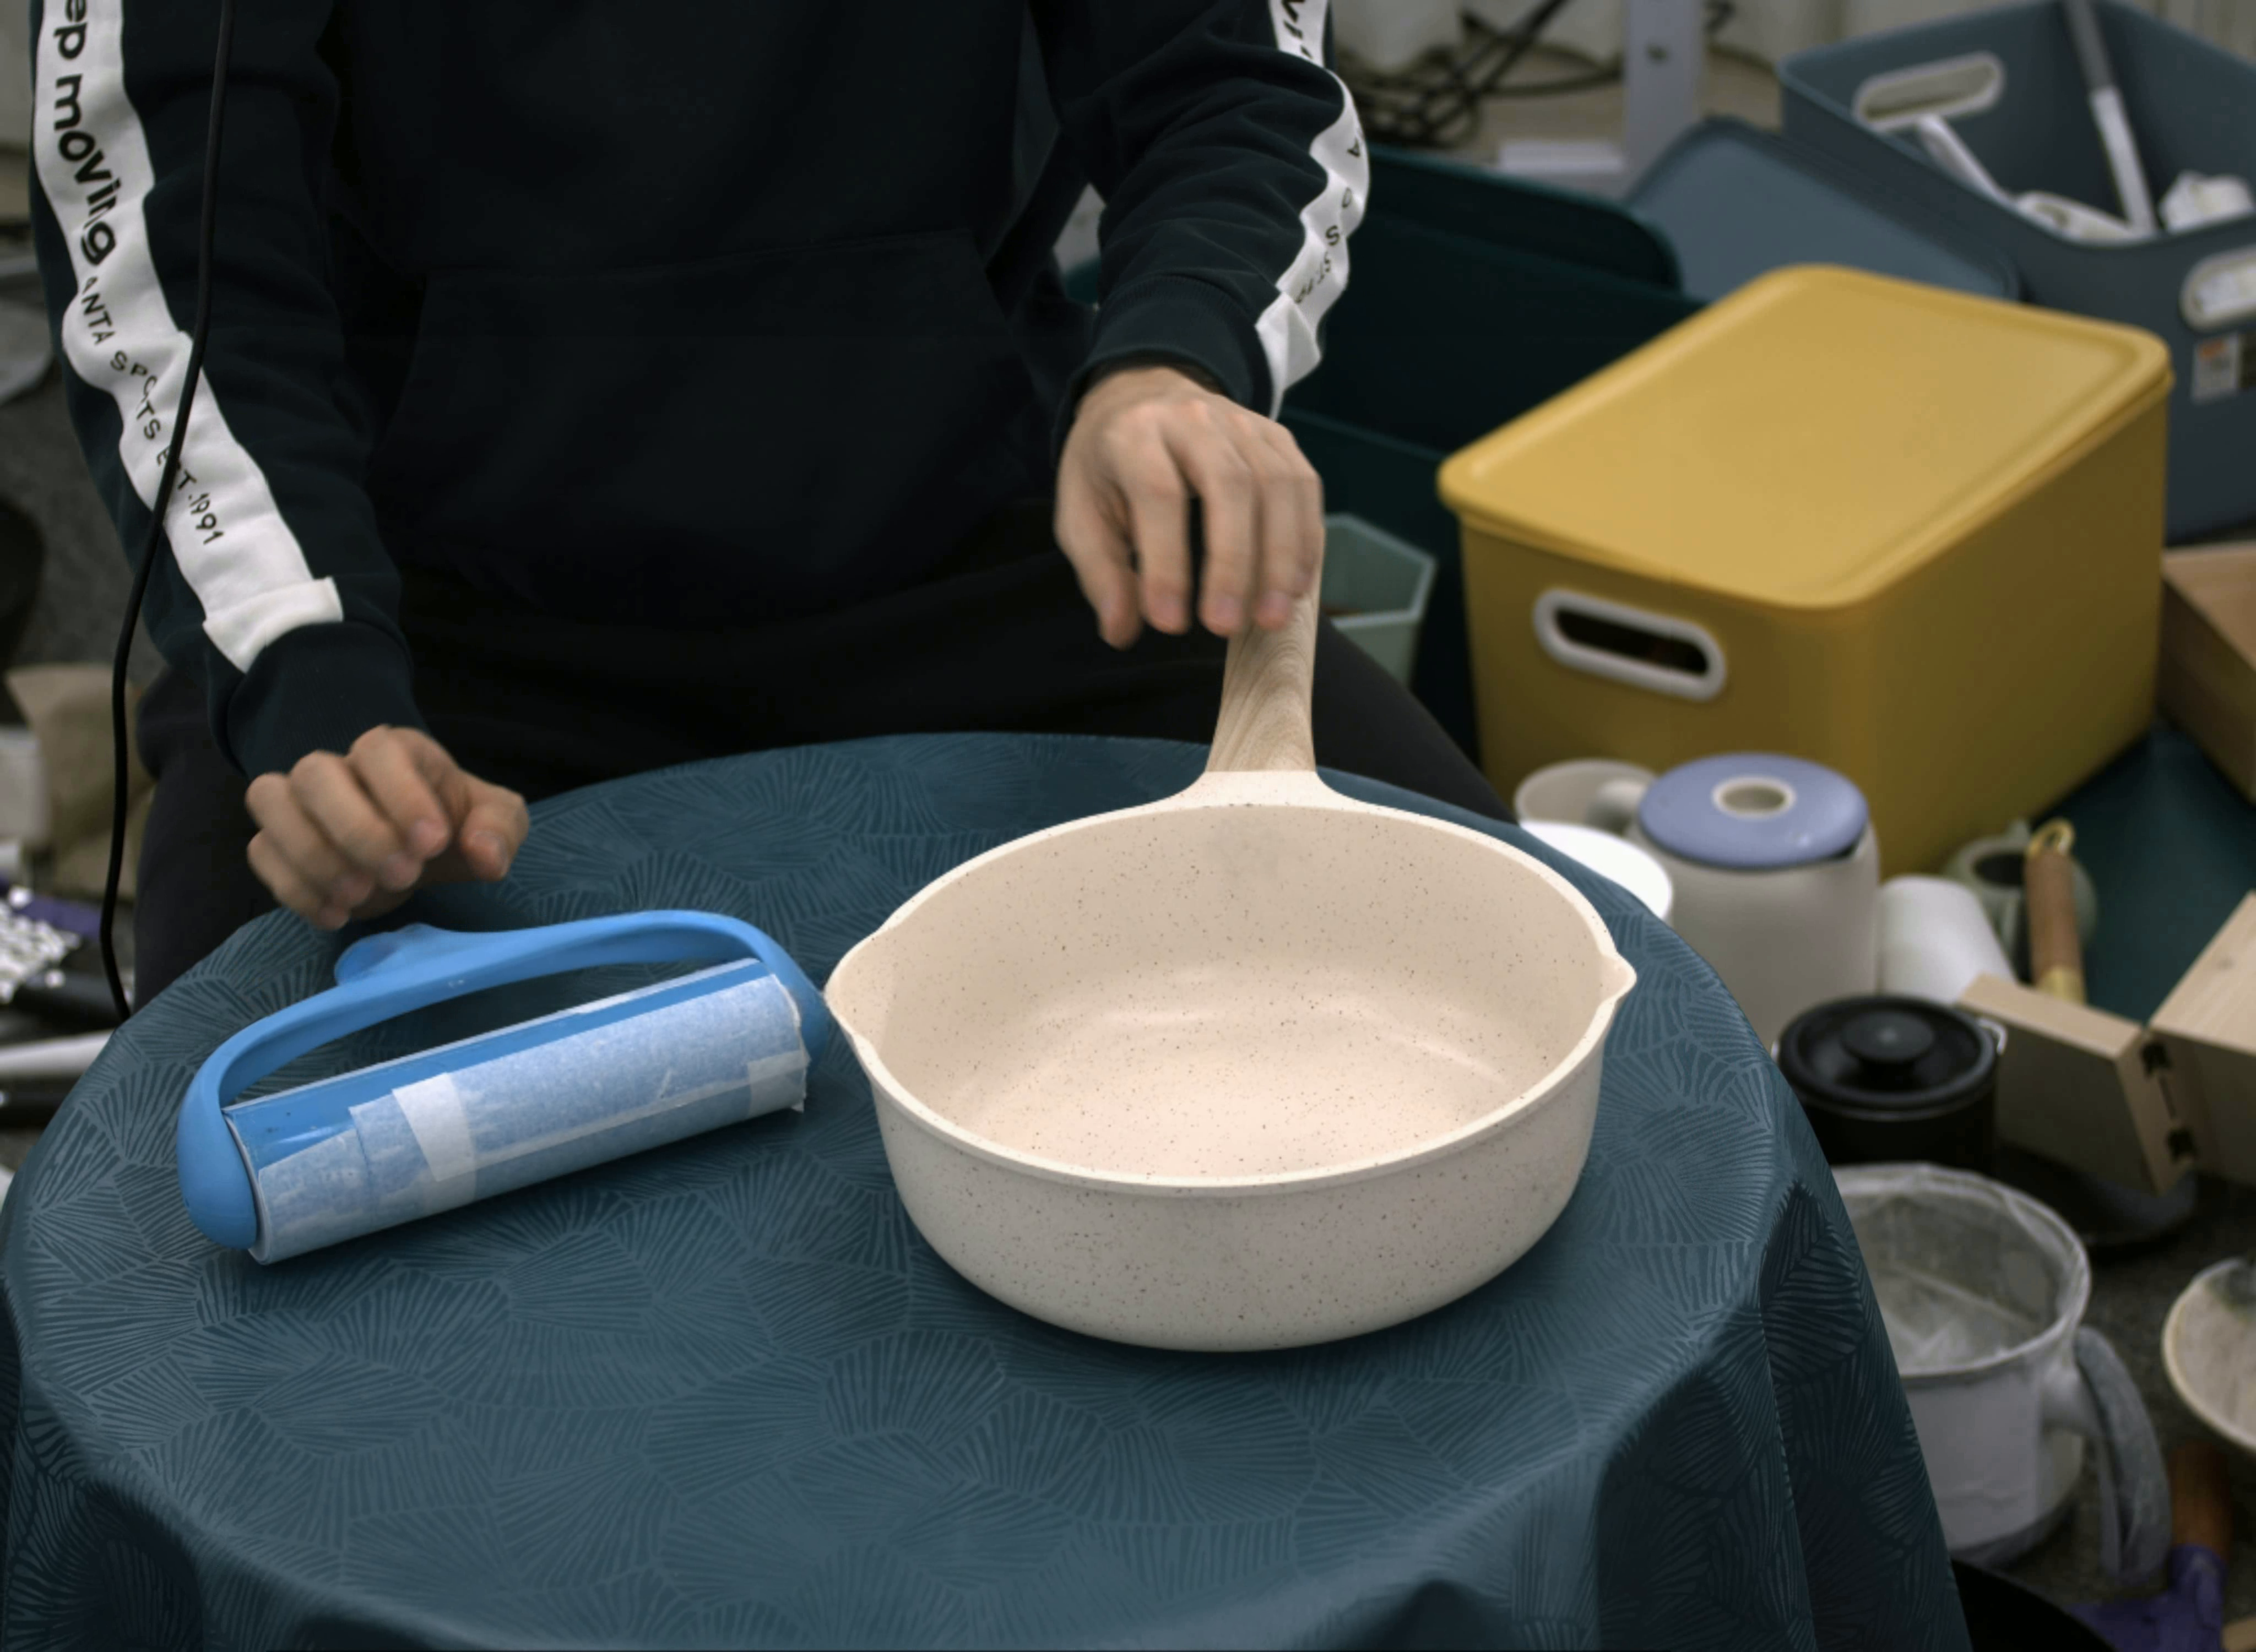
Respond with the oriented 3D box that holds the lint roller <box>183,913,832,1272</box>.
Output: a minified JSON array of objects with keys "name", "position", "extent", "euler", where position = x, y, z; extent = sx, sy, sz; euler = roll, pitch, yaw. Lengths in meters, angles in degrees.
[{"name":"lint roller","position":[-0.234,0.071,1.919],"extent":[0.230,0.067,0.181],"euler":[-19,32,-25]}]

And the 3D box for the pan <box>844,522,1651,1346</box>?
[{"name":"pan","position":[0.046,0.033,1.917],"extent":[0.262,0.101,0.442],"euler":[-2,27,5]}]
